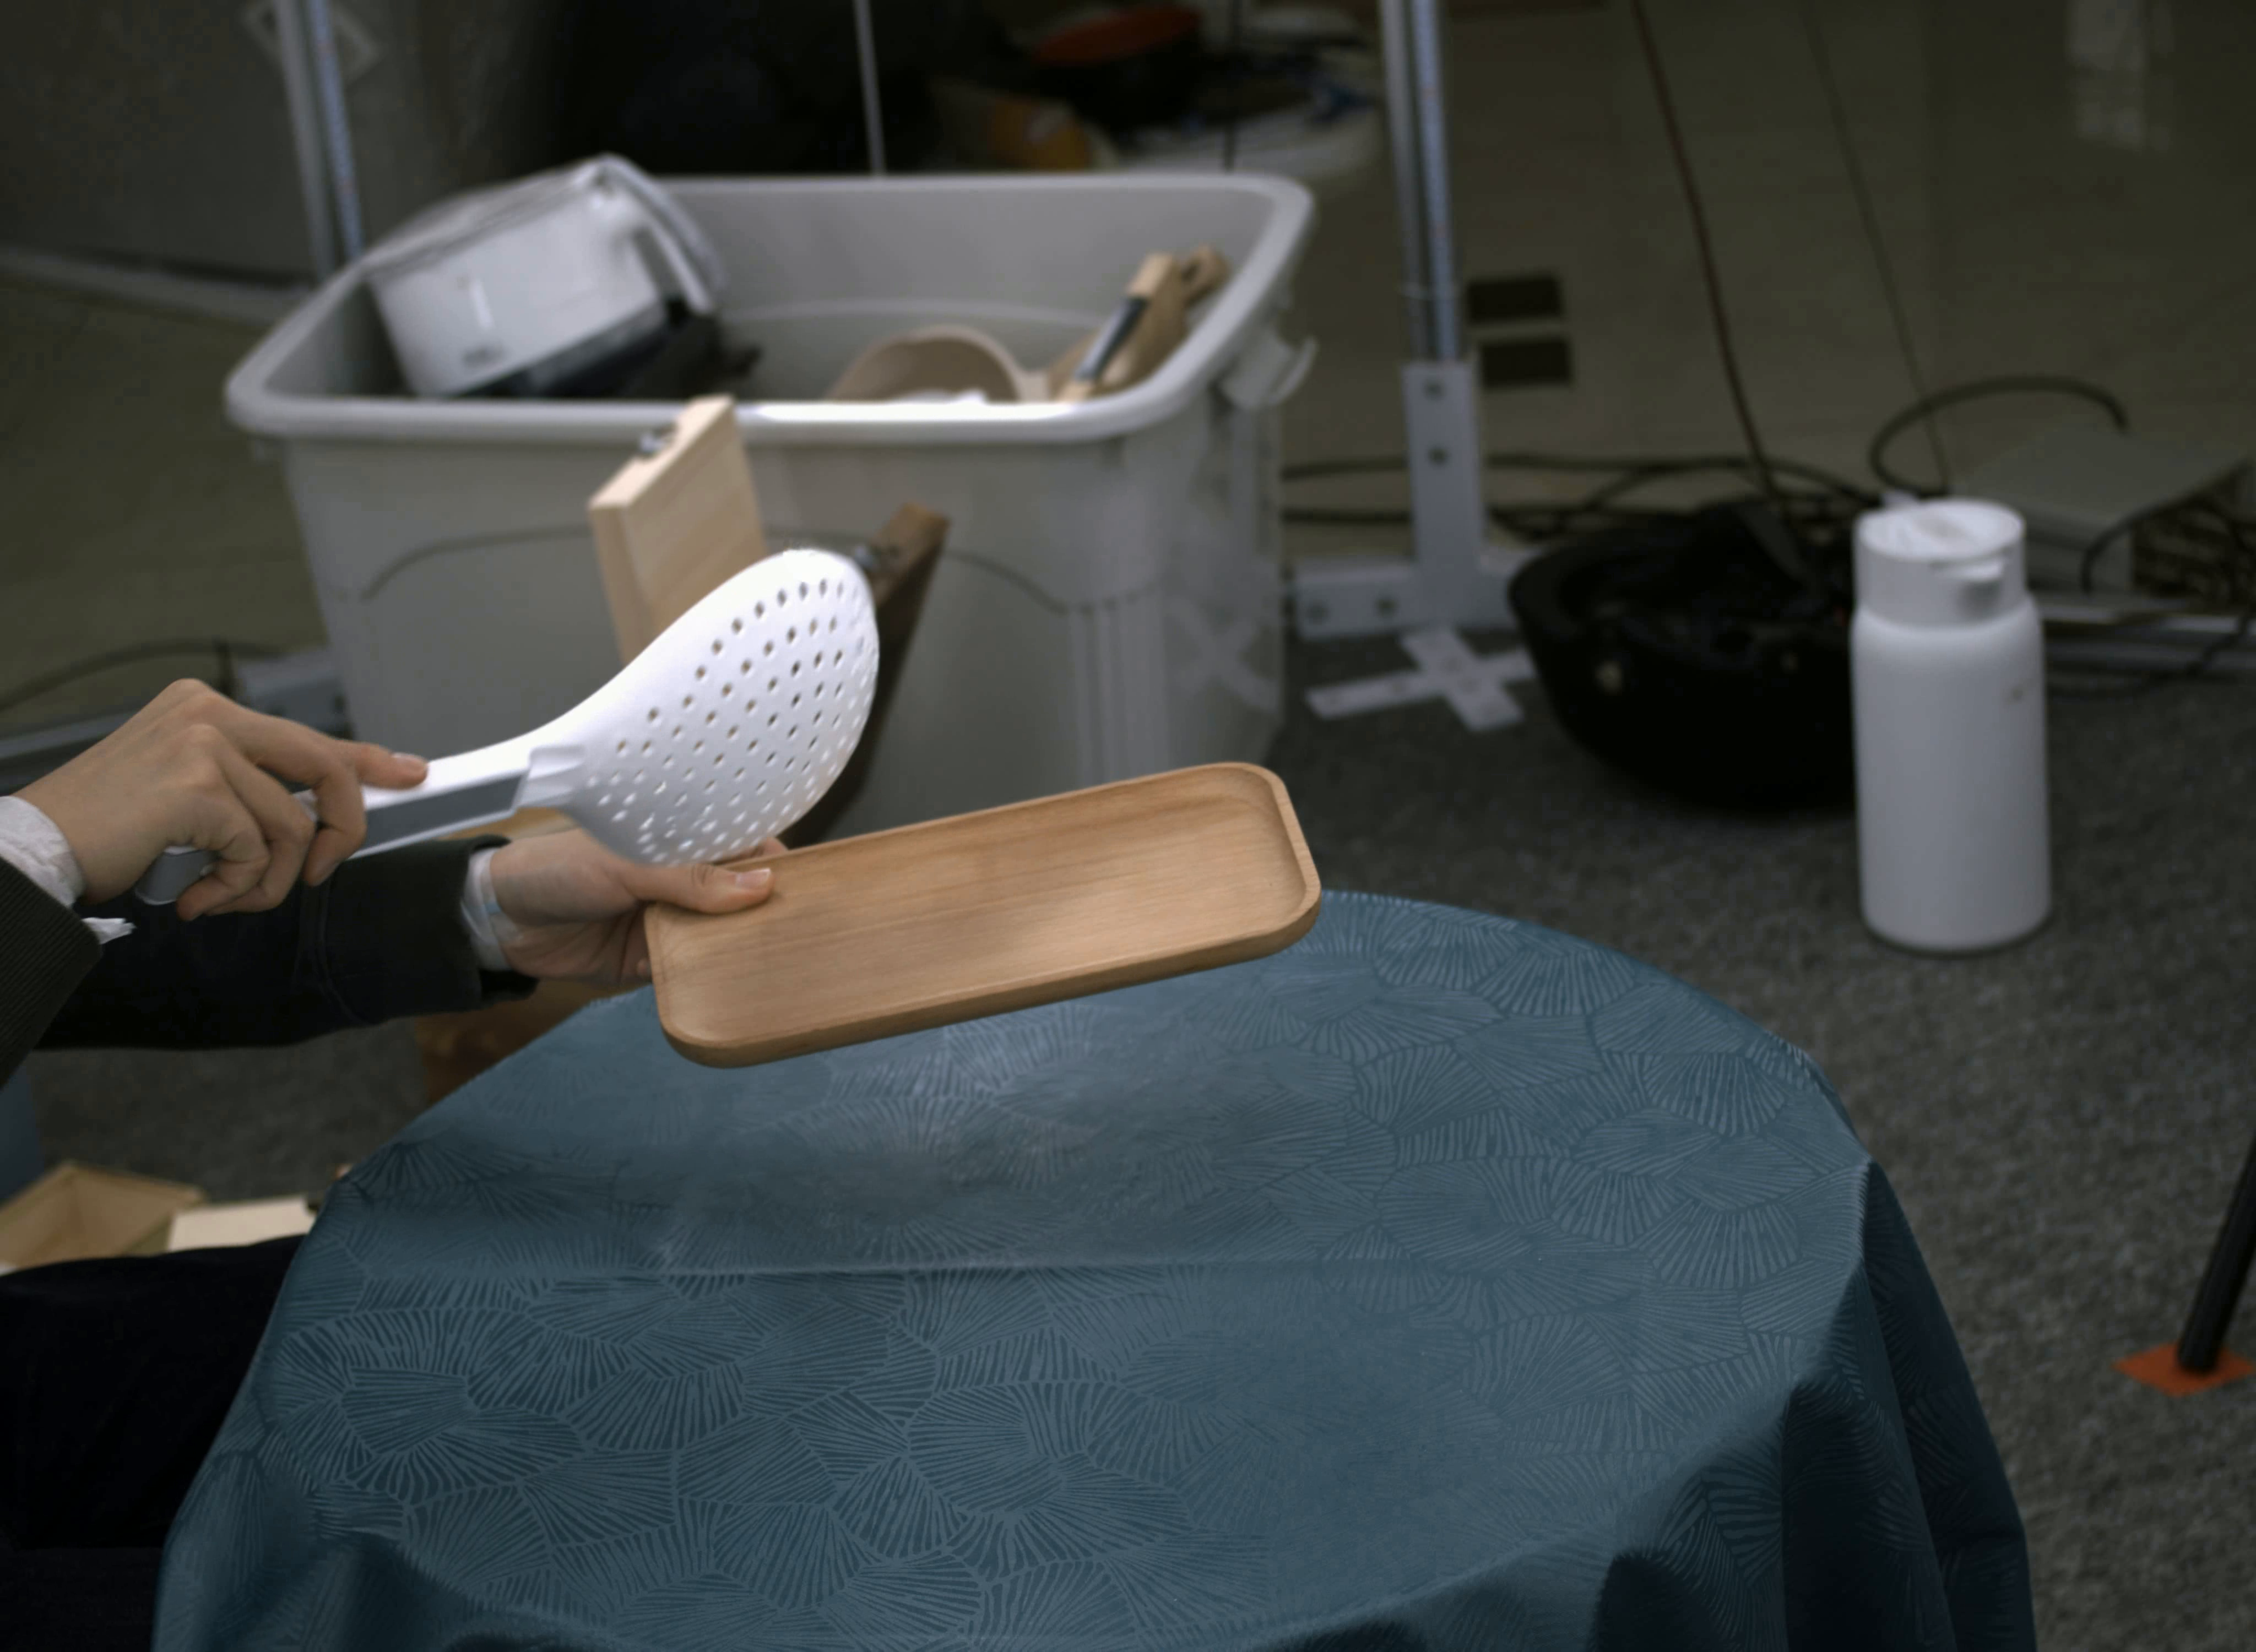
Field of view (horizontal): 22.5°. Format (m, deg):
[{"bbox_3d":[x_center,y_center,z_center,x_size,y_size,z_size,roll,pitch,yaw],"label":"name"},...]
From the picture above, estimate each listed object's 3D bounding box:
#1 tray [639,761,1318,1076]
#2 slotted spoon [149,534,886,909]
[{"bbox_3d":[-0.057,0.035,2.128,0.250,0.023,0.128,-12,31,-2],"label":"tray"},{"bbox_3d":[-0.204,-0.022,1.988,0.348,0.138,0.045,-13,42,-44],"label":"slotted spoon"}]
